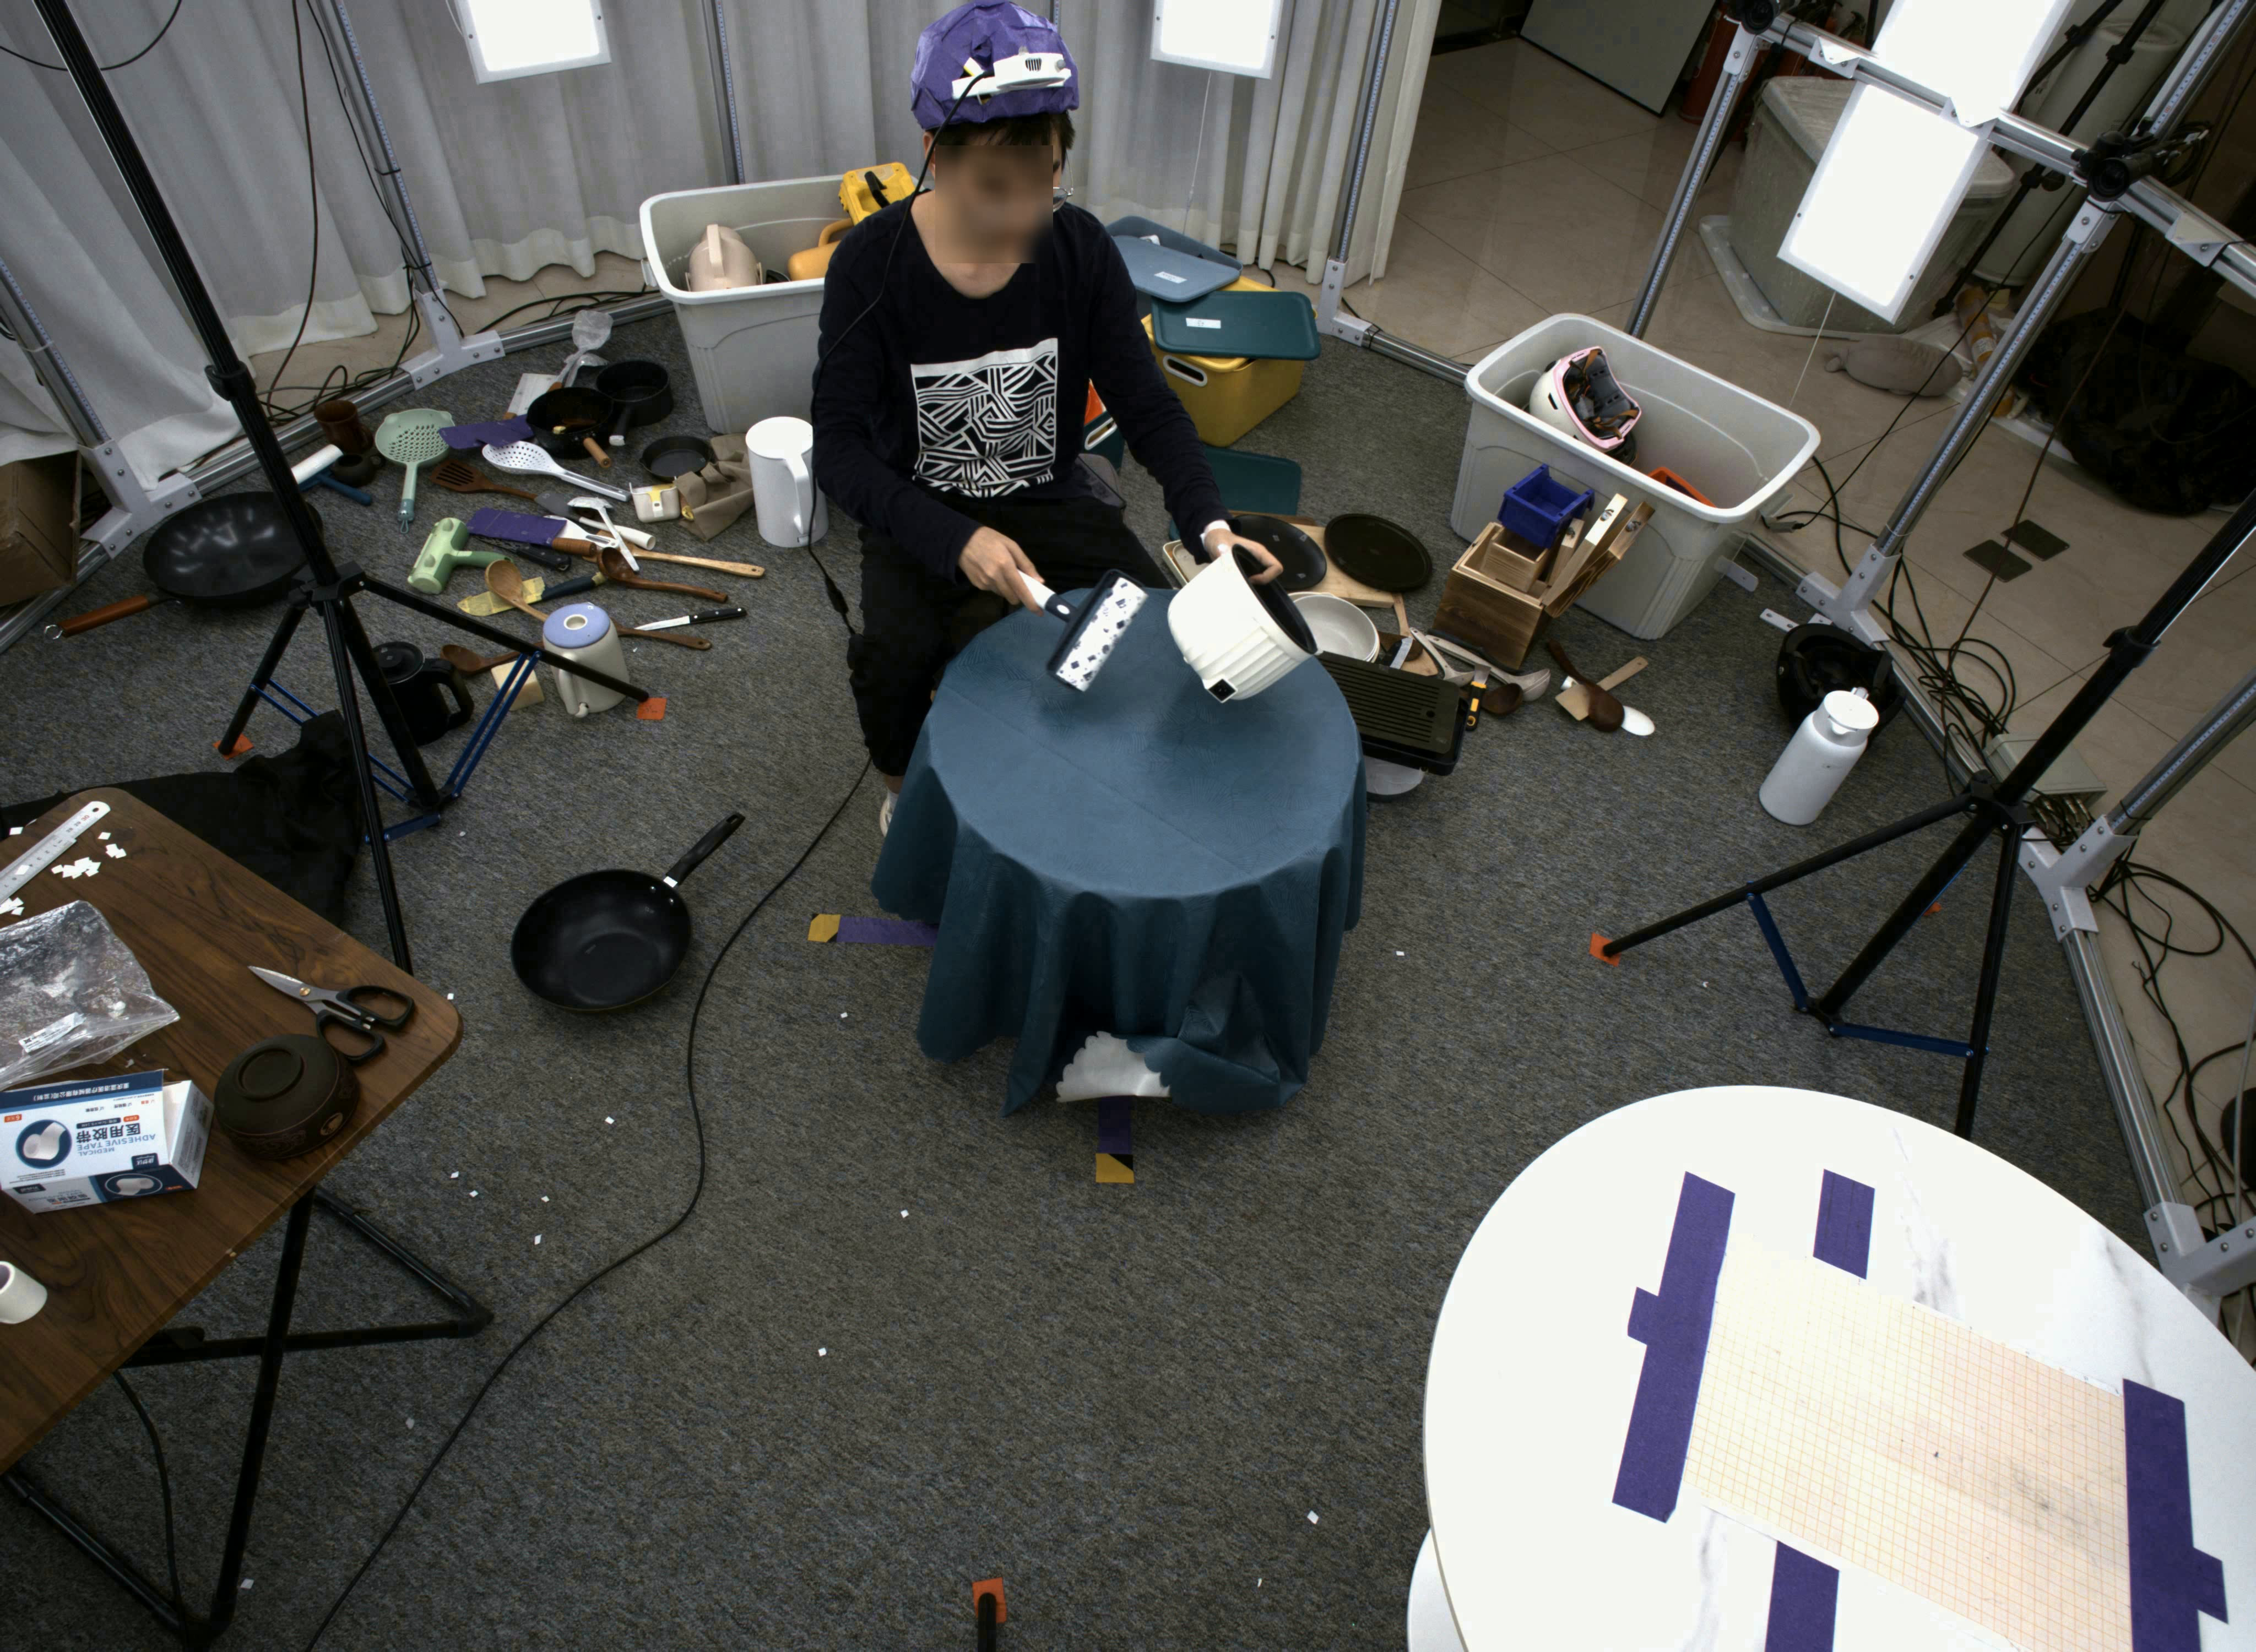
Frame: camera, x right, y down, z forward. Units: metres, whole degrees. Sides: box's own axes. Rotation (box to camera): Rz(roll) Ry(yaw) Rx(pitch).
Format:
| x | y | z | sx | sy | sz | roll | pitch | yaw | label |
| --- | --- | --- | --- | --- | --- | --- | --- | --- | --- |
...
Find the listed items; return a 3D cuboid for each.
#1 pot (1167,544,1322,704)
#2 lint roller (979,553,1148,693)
| x | y | z | sx | sy | sz | roll | pitch | yaw | label |
| --- | --- | --- | --- | --- | --- | --- | --- | --- | --- |
| 0.144 | -0.270 | 1.732 | 0.141 | 0.236 | 0.195 | -33 | 43 | 22 | pot |
| -0.114 | -0.317 | 1.802 | 0.249 | 0.050 | 0.176 | 33 | 91 | 18 | lint roller |
